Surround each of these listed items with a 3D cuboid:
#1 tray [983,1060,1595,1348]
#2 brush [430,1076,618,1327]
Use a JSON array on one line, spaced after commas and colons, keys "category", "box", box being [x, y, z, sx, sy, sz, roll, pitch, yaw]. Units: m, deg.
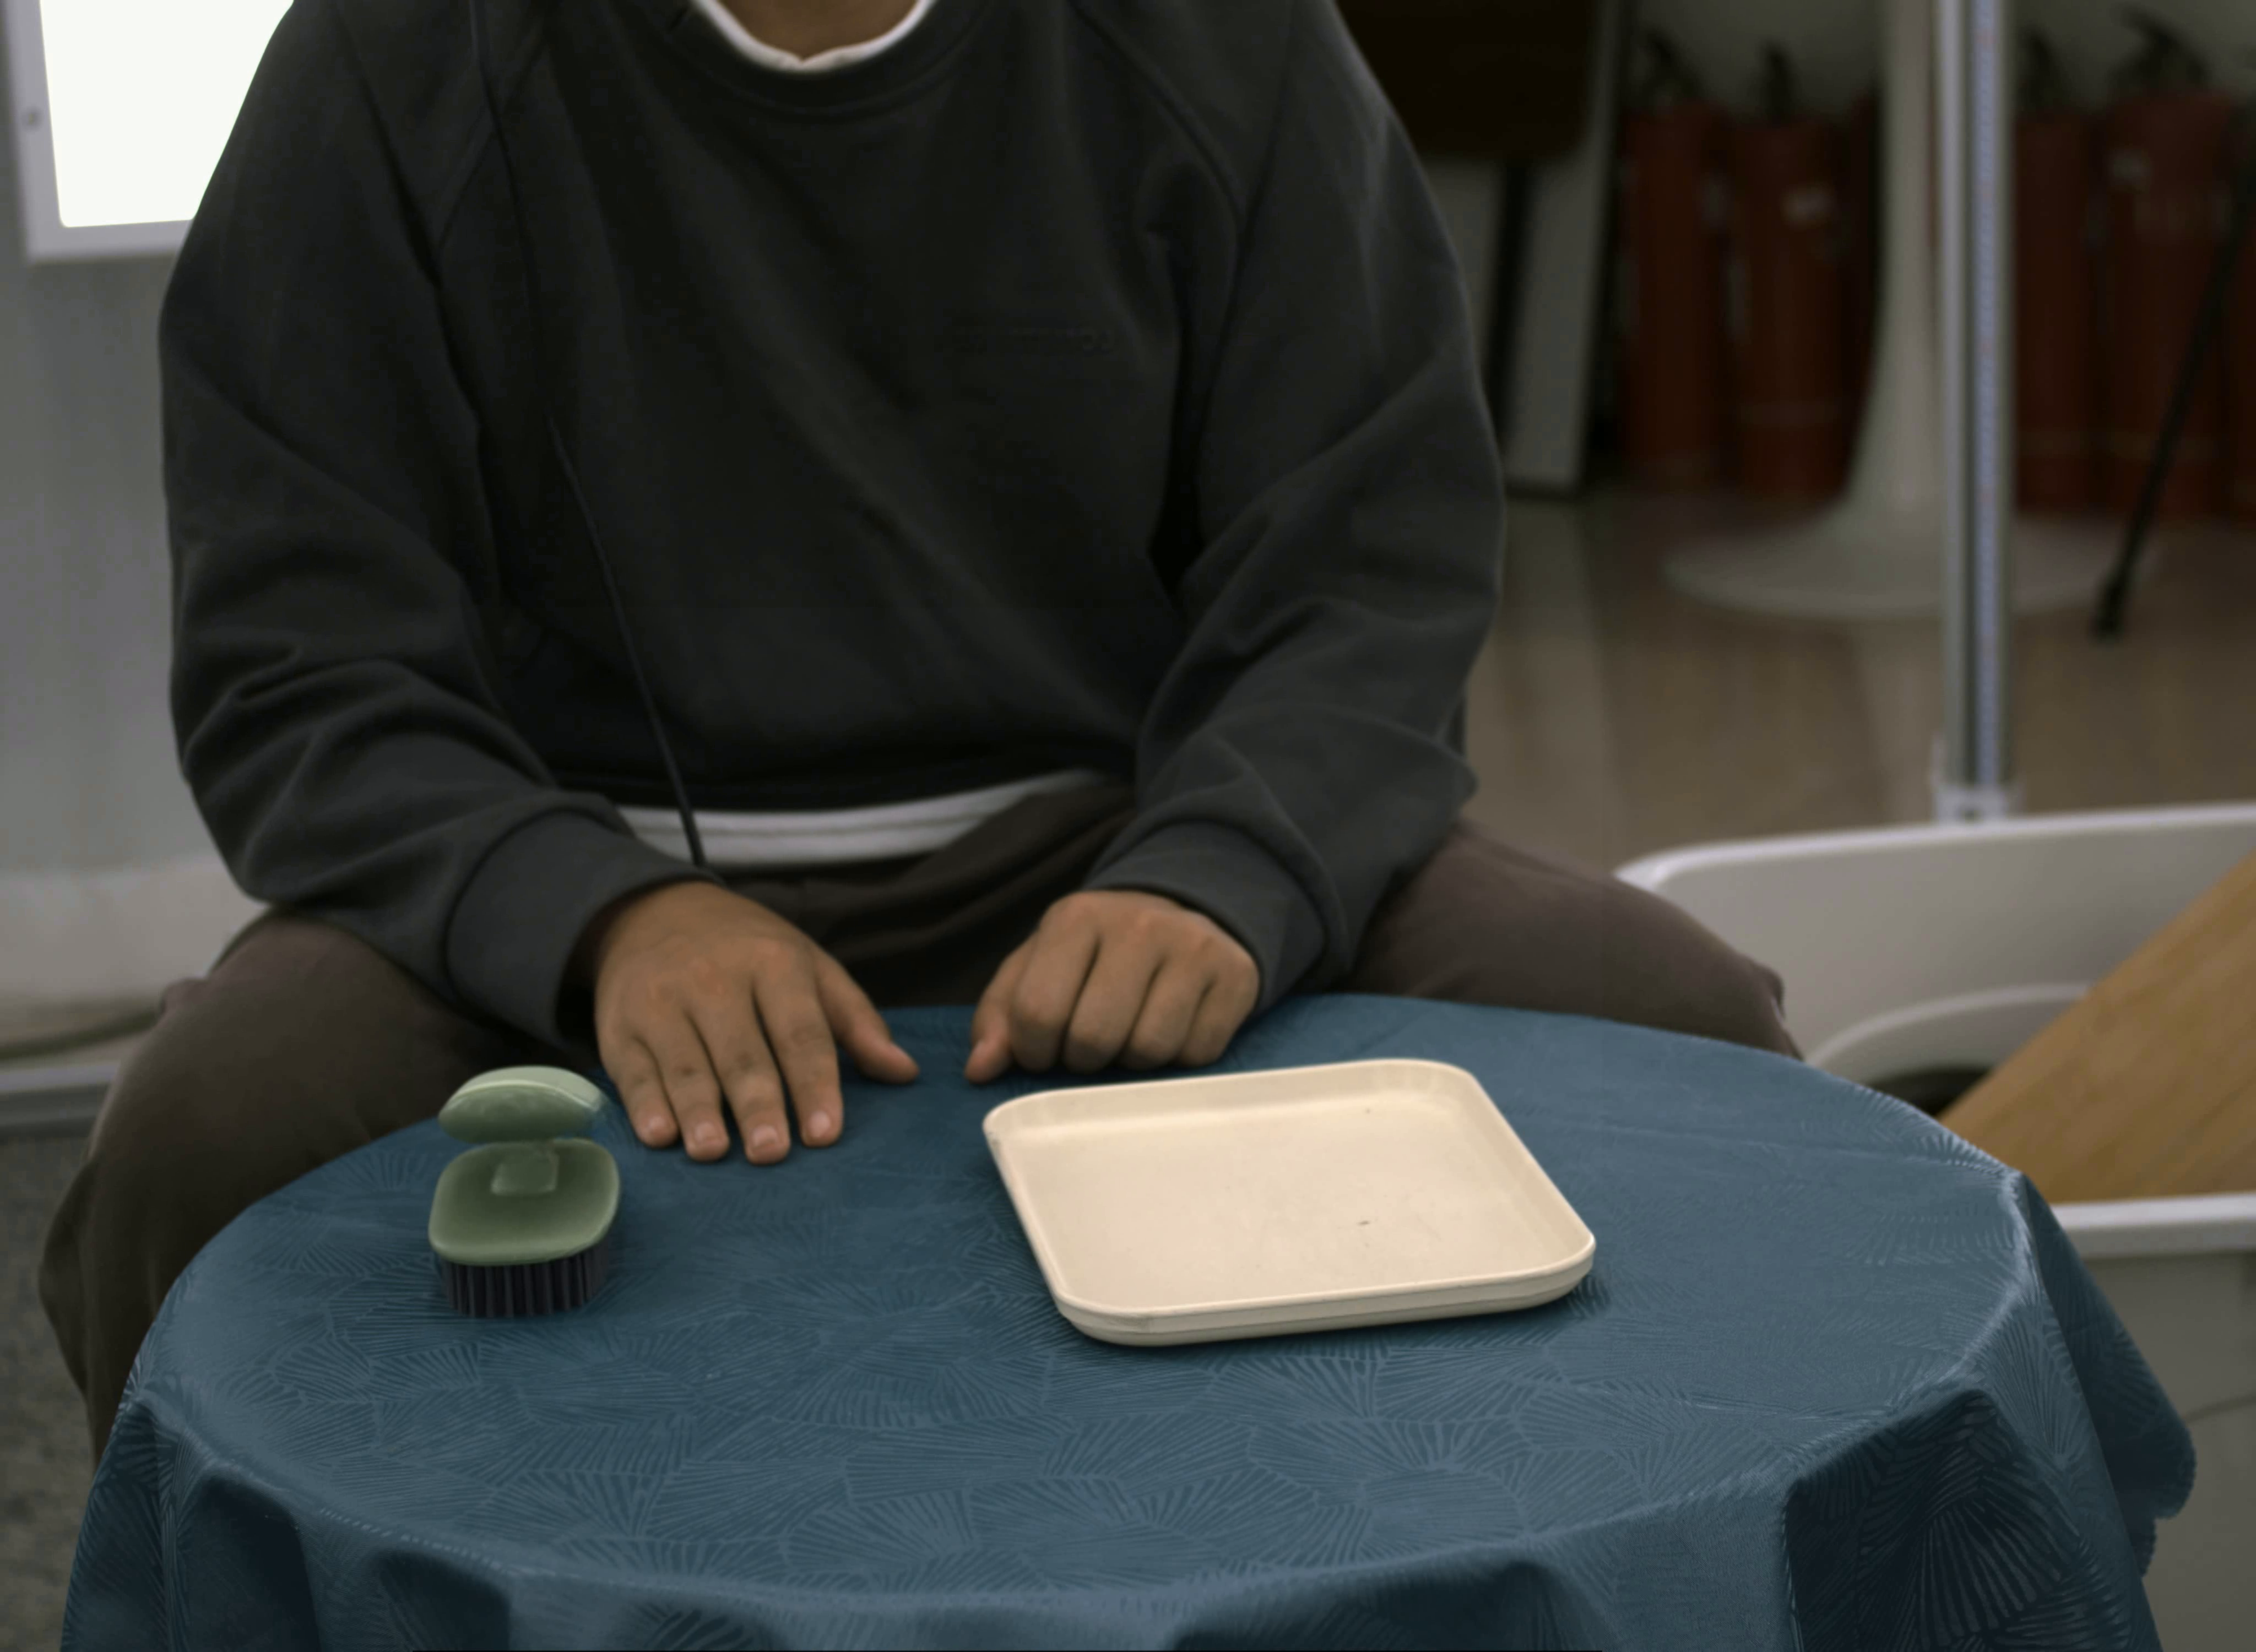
[{"category": "tray", "box": [0.048, 0.120, 1.727, 0.168, 0.017, 0.241, -5, 14, -7]}, {"category": "brush", "box": [-0.193, 0.118, 1.733, 0.059, 0.077, 0.123, -3, 0, -3]}]
